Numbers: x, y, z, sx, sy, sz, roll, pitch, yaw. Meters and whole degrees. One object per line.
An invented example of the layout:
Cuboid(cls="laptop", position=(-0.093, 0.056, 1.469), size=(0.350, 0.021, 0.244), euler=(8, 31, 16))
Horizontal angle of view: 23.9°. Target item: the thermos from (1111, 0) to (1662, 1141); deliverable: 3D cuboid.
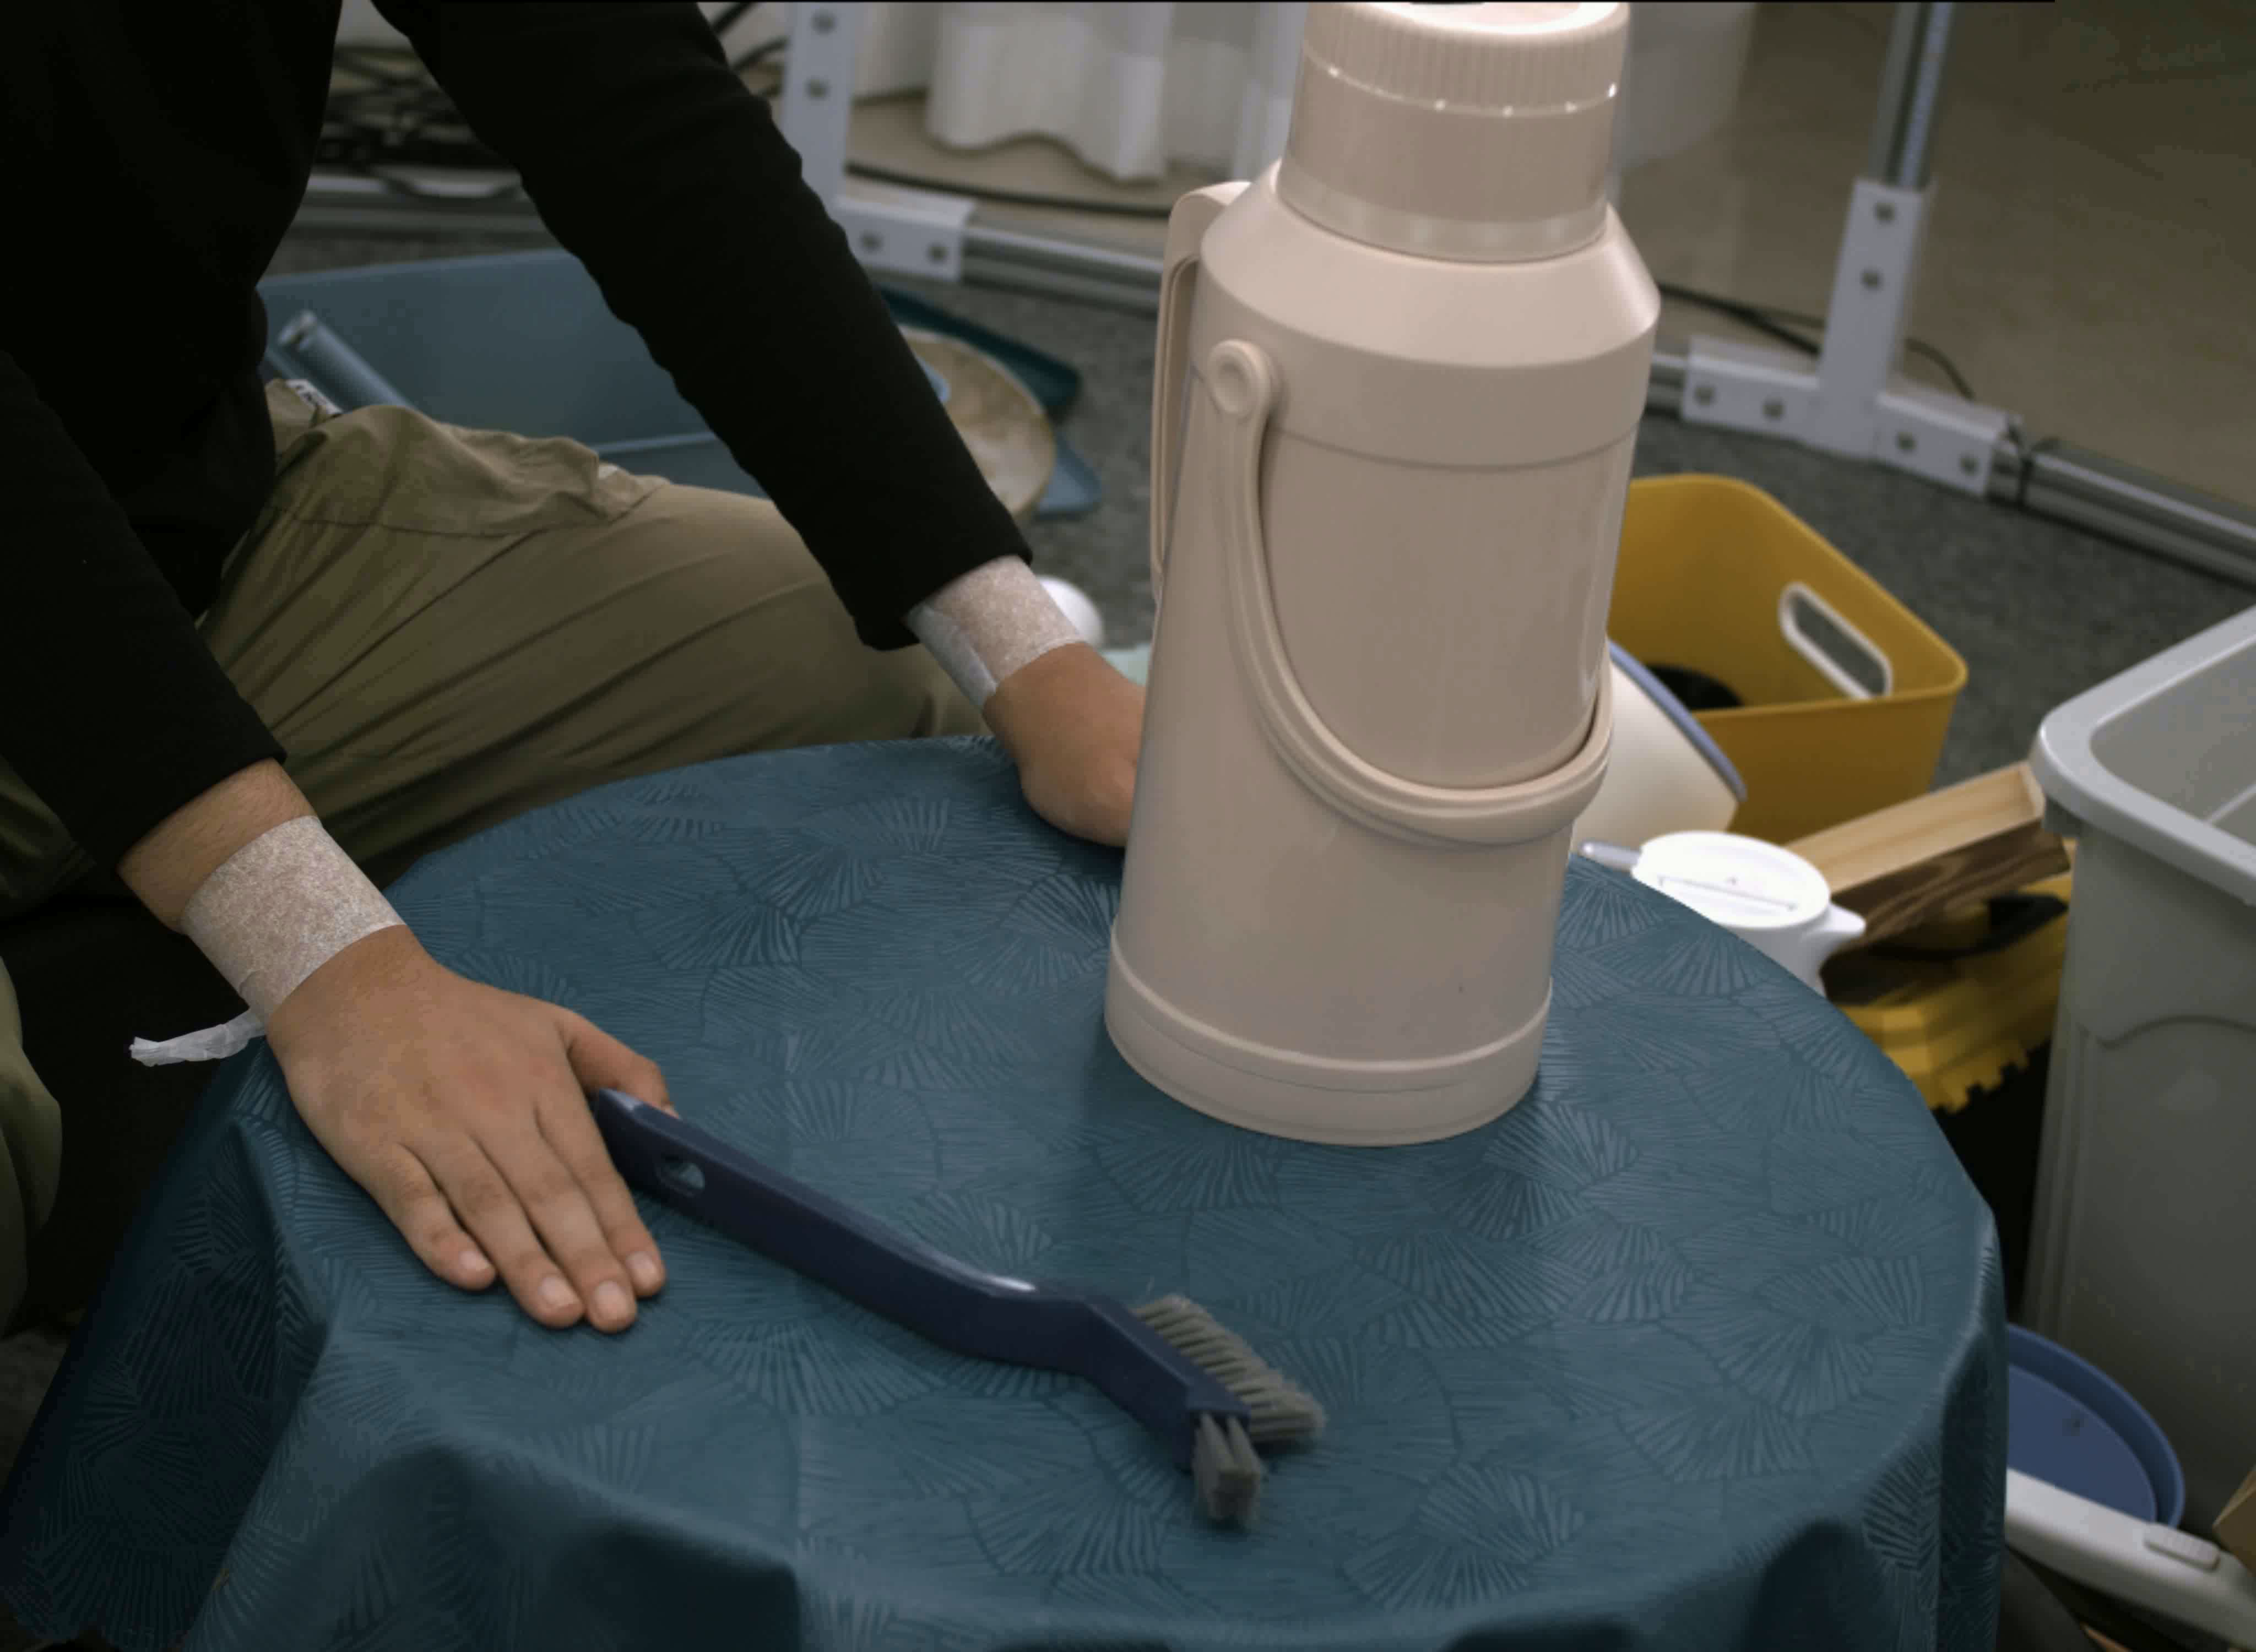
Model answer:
Cuboid(cls="thermos", position=(0.083, -0.107, 1.837), size=(0.174, 0.405, 0.209), euler=(-18, 36, -38))

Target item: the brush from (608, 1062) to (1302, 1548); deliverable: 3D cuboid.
Cuboid(cls="brush", position=(-0.069, 0.149, 1.700), size=(0.274, 0.033, 0.095), euler=(21, 29, 22))
